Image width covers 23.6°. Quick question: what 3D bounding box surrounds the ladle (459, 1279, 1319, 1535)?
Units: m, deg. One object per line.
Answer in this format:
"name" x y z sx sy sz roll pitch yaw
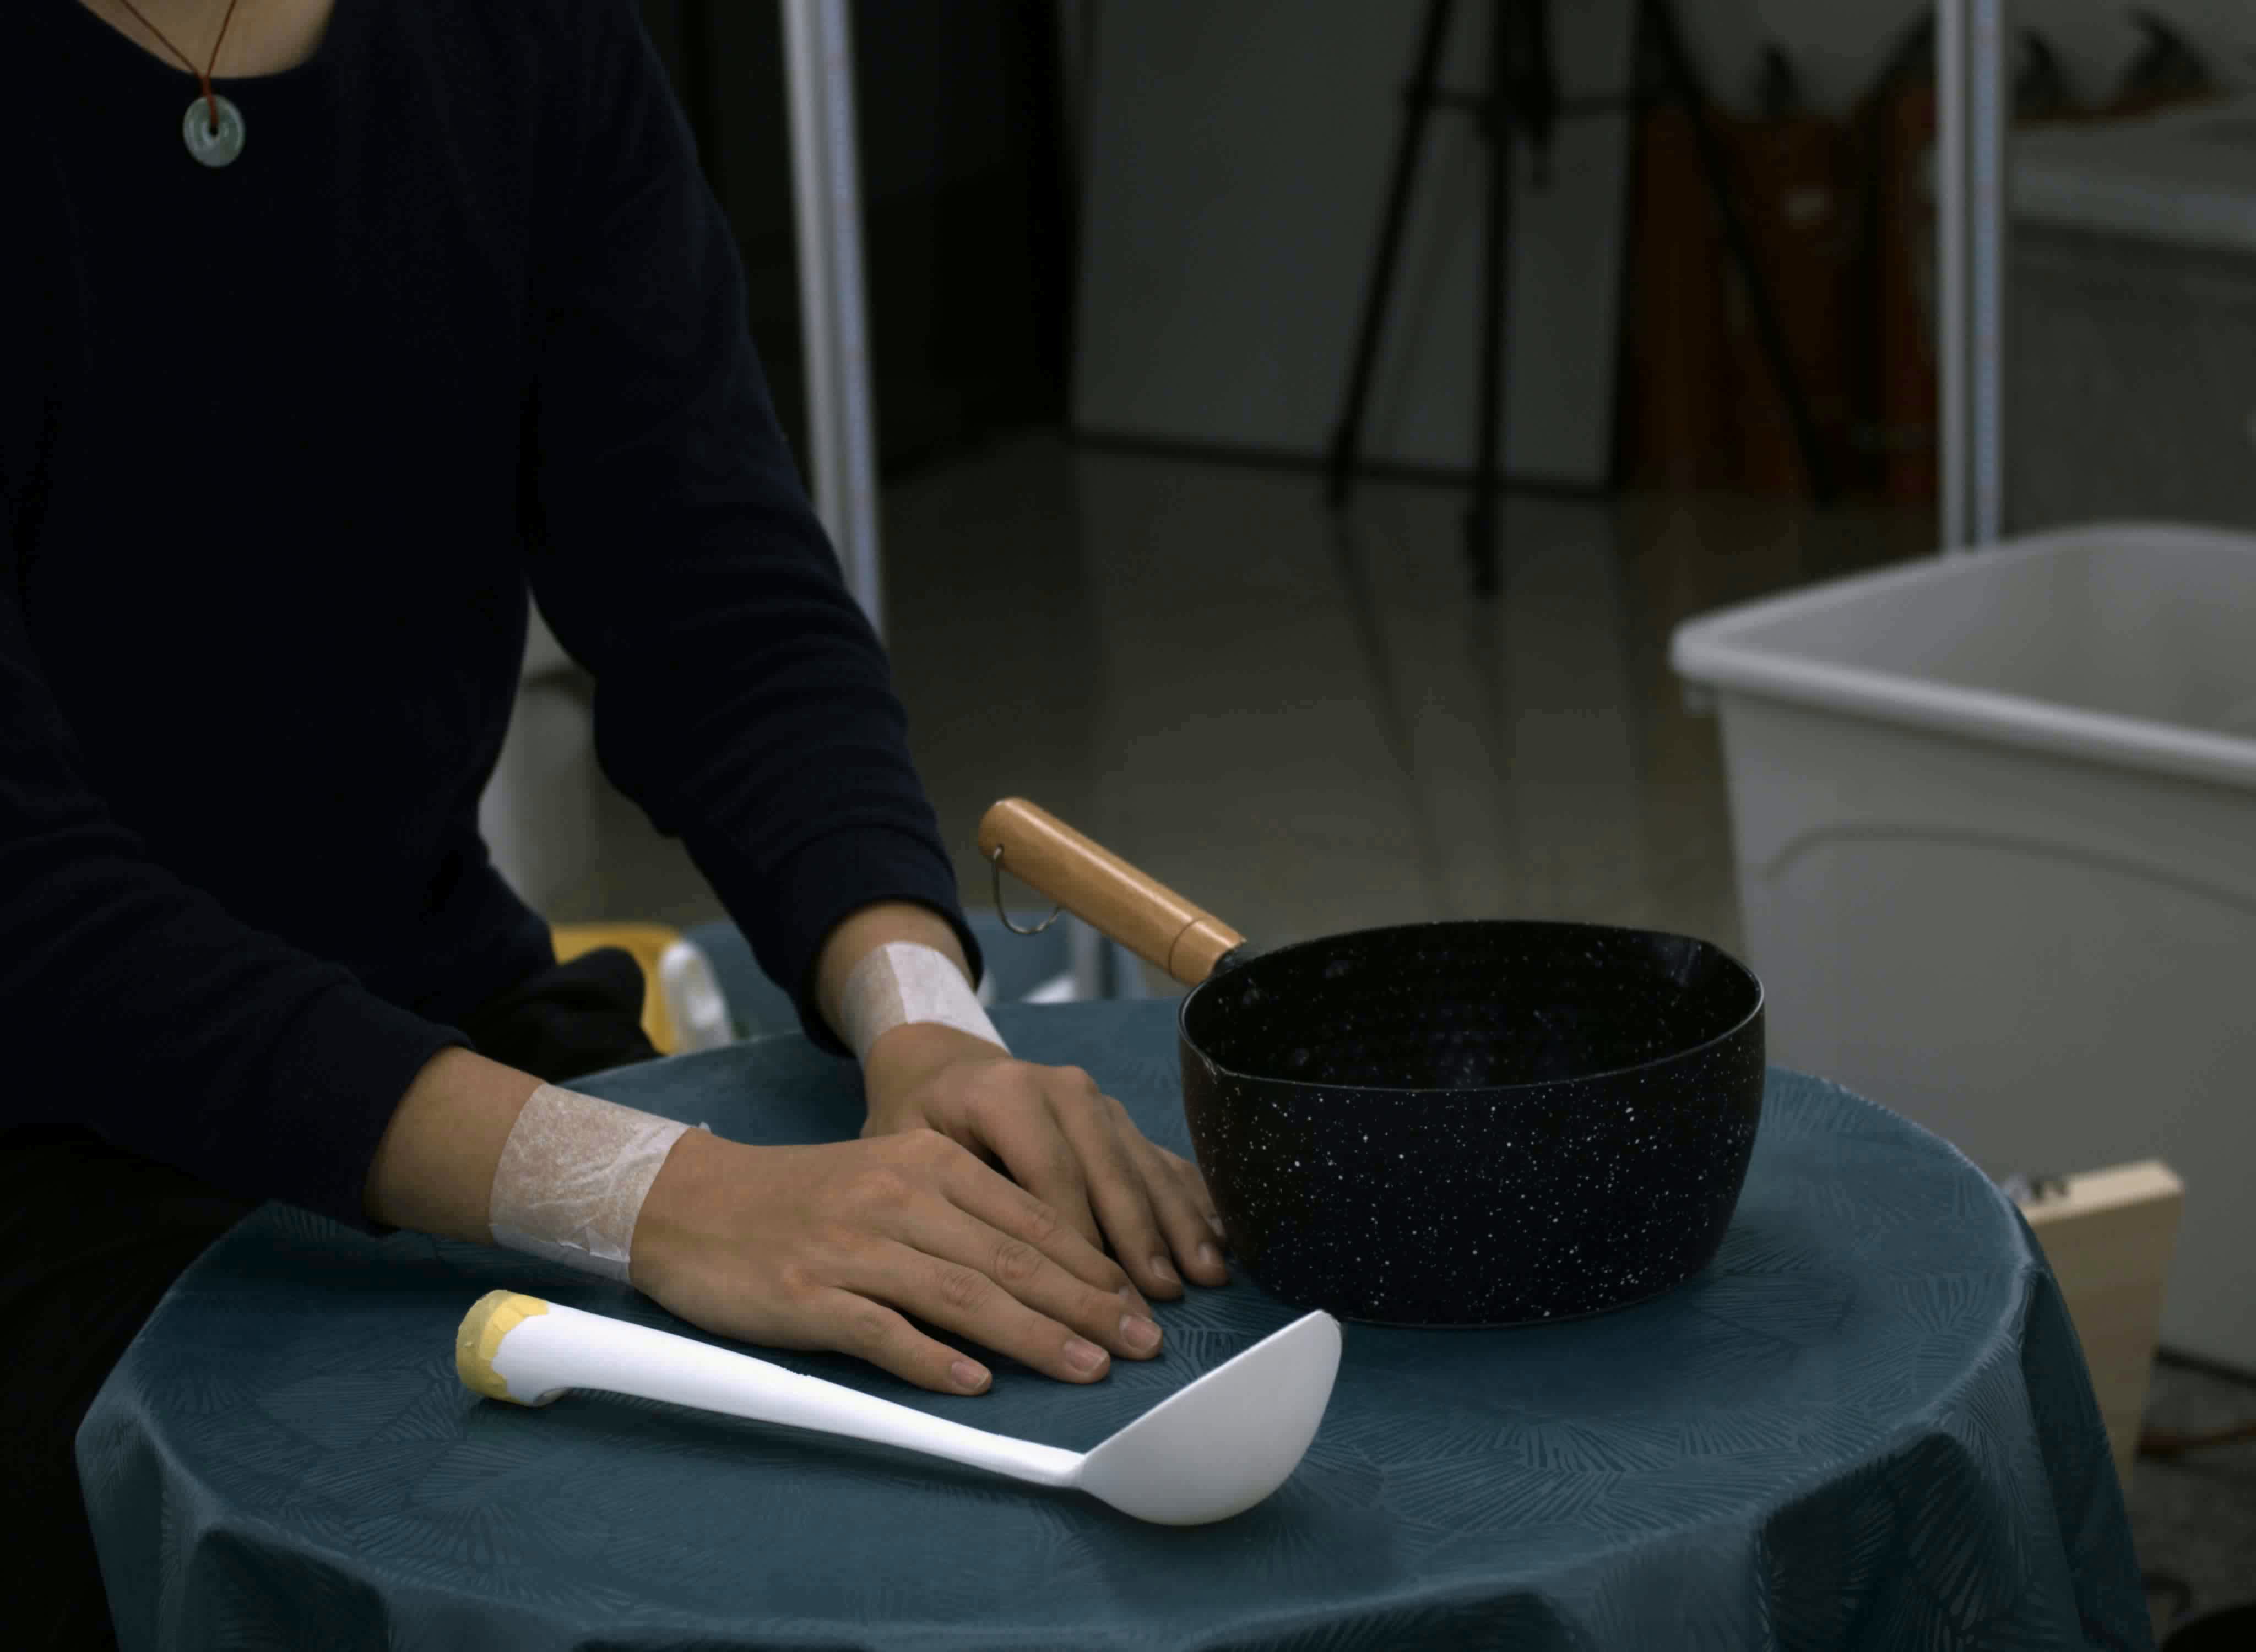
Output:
"ladle" -0.074 0.153 1.528 0.295 0.070 0.089 5 21 36

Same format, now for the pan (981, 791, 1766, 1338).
"pan" 0.059 0.070 1.735 0.203 0.109 0.346 -15 19 -35
